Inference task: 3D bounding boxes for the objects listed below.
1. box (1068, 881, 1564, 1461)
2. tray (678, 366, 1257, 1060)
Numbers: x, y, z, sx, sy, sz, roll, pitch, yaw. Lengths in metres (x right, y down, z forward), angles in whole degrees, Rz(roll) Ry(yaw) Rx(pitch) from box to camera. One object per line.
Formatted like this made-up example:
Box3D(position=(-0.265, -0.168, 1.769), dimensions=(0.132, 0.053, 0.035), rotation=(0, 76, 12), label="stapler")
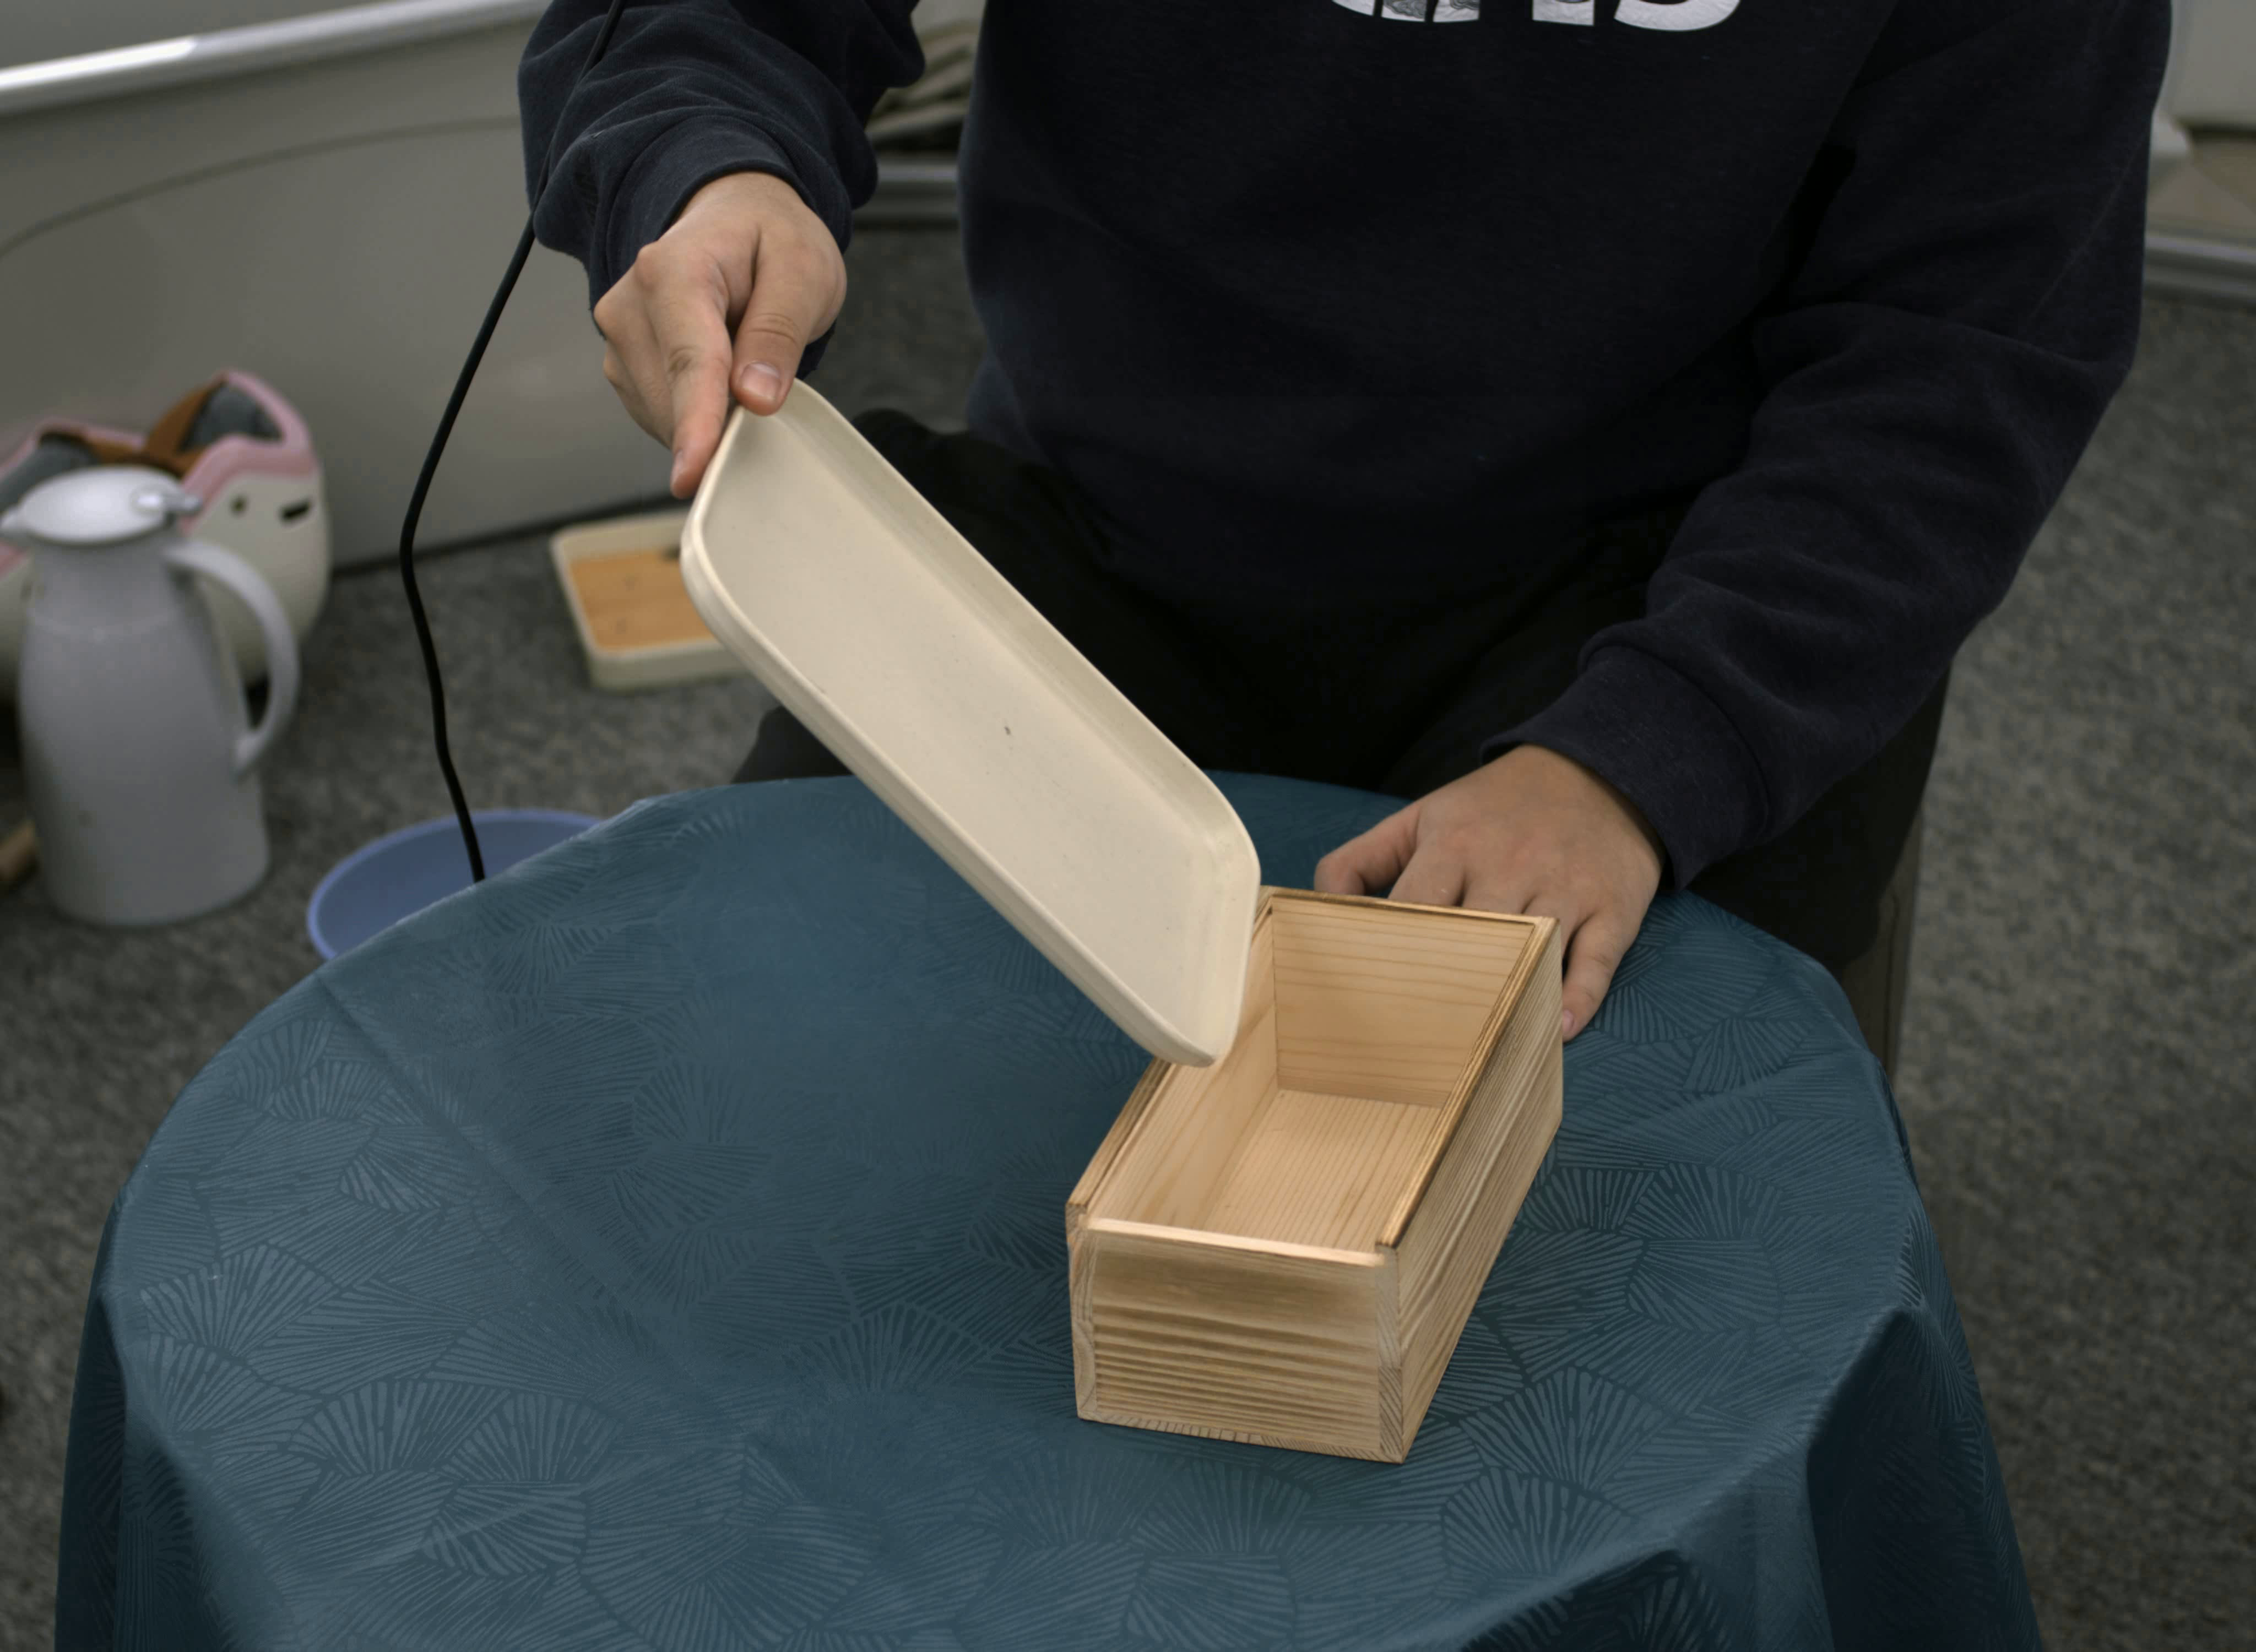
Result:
Box3D(position=(0.064, 0.107, 1.802), dimensions=(0.107, 0.079, 0.215), rotation=(6, 28, 16), label="box")
Box3D(position=(-0.049, -0.034, 1.767), dimensions=(0.017, 0.239, 0.174), rotation=(-40, 16, 21), label="tray")
